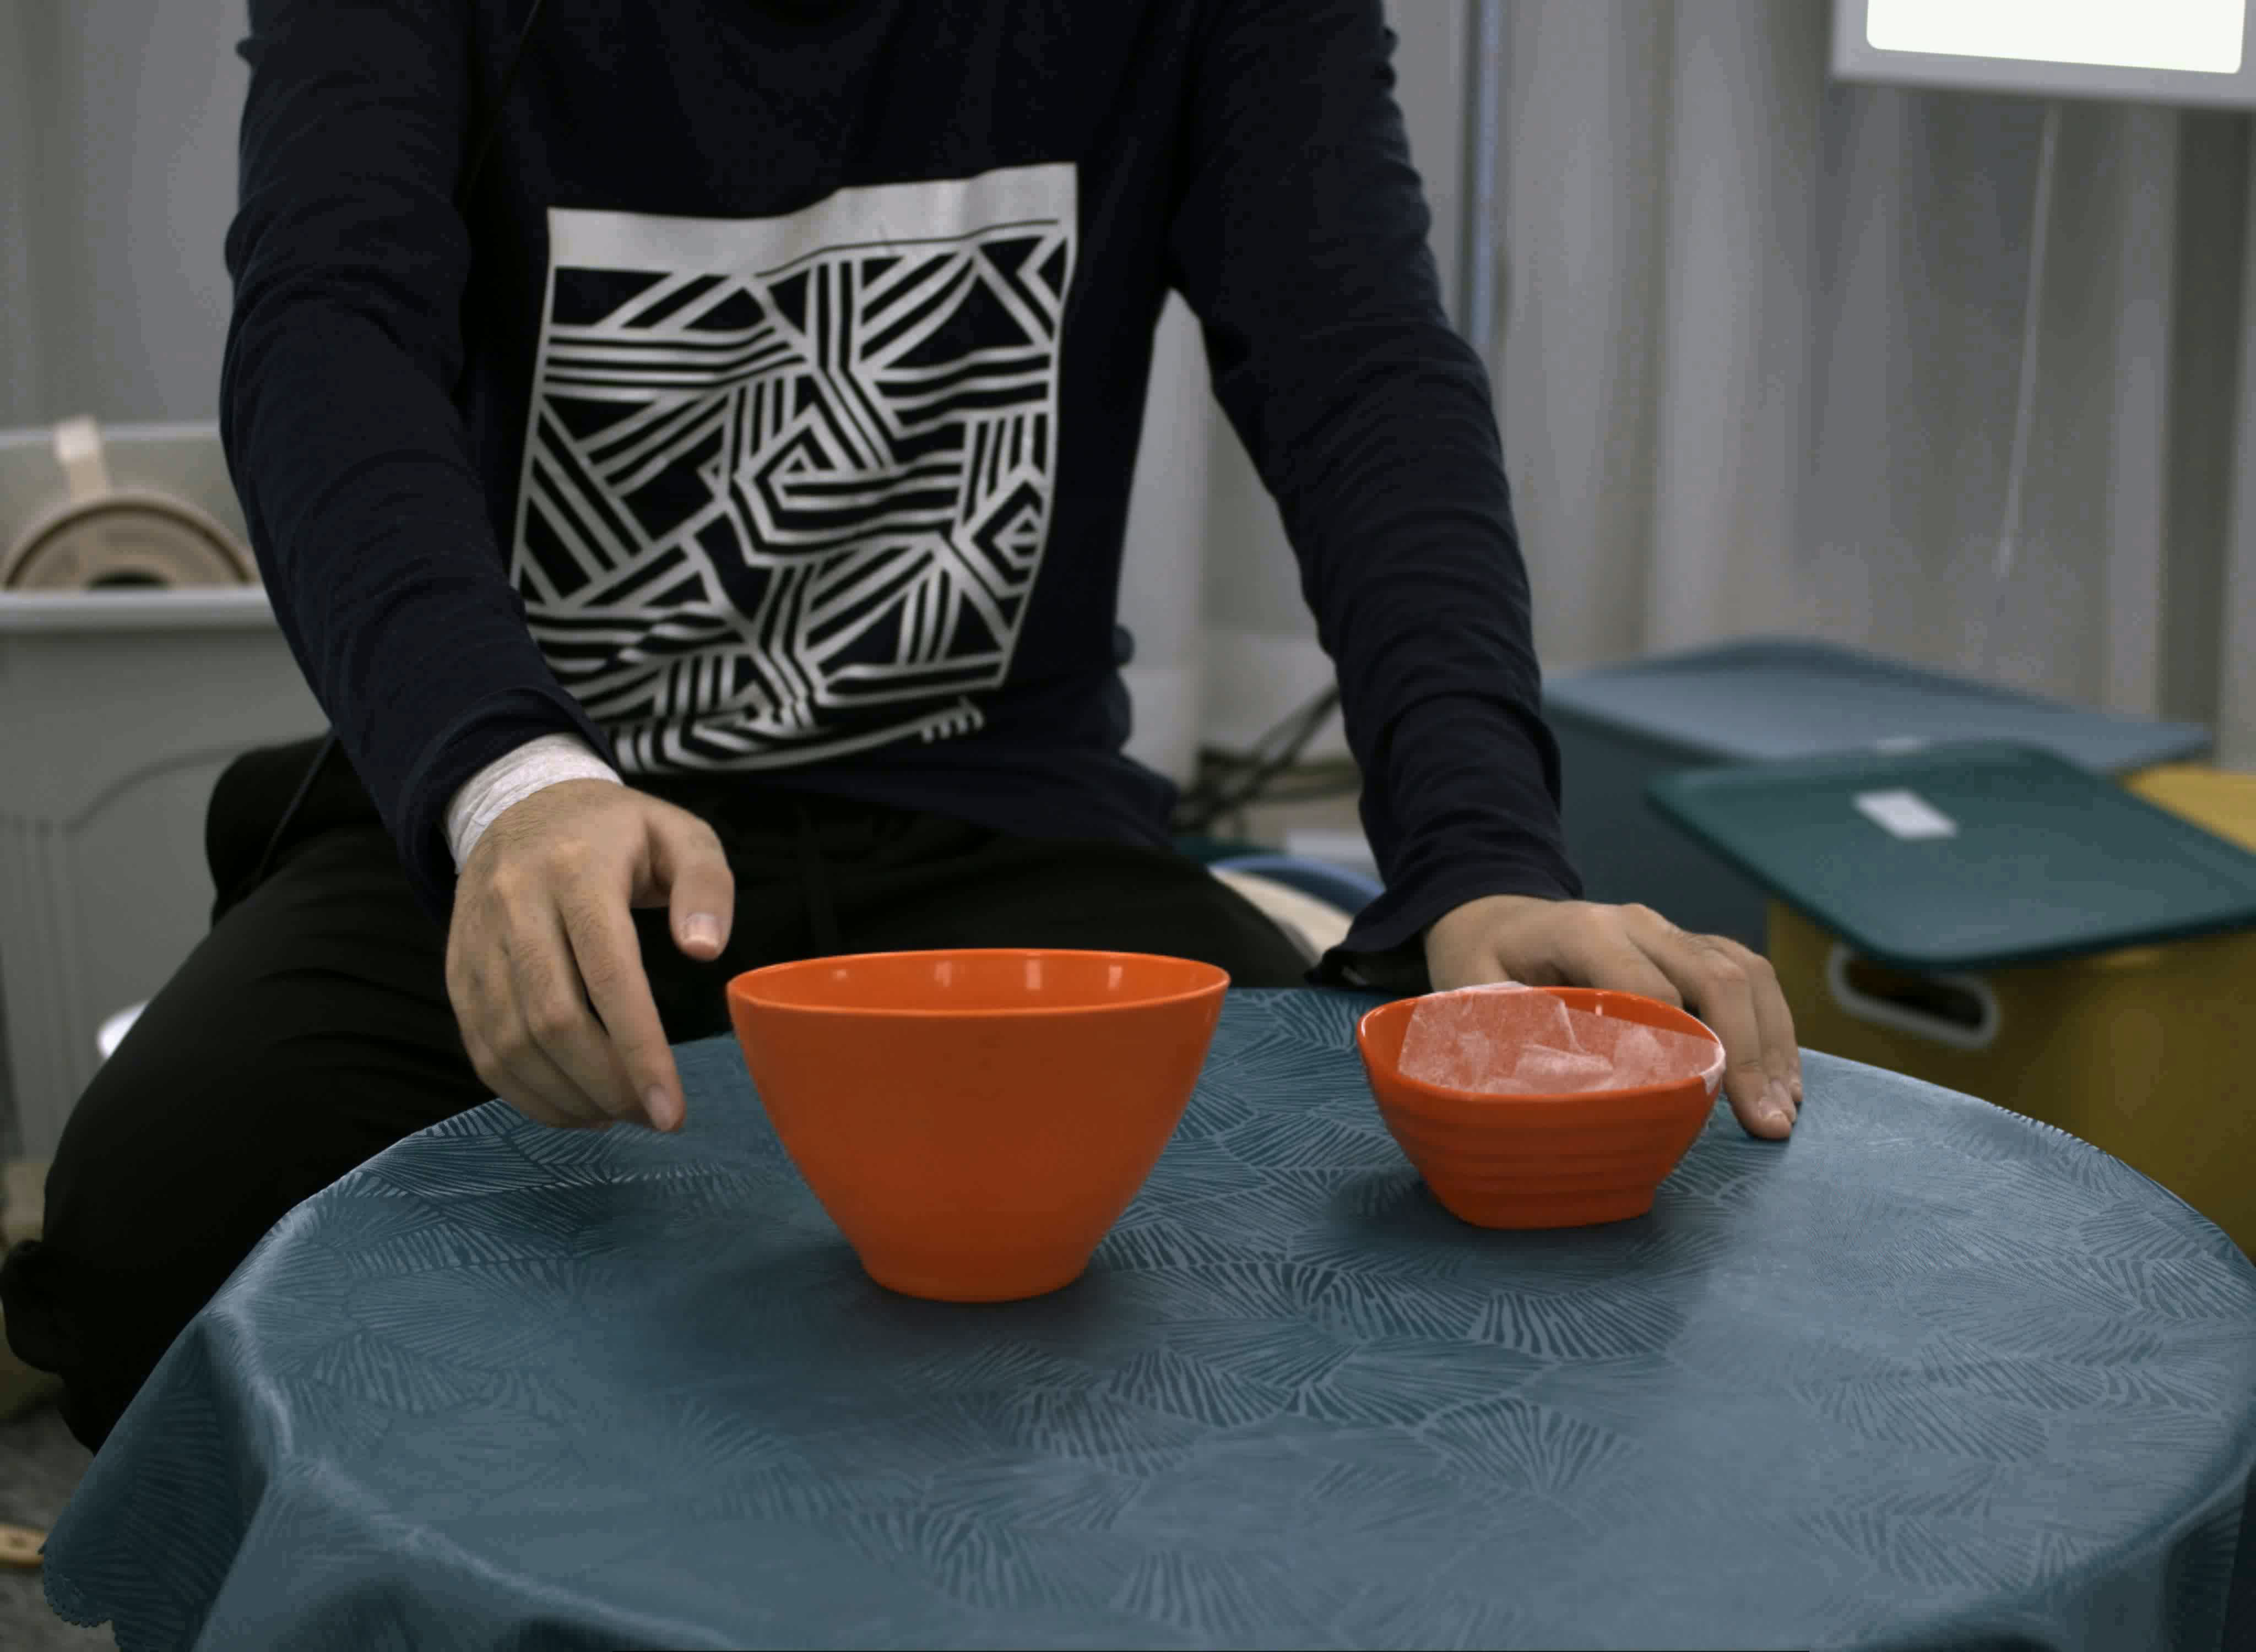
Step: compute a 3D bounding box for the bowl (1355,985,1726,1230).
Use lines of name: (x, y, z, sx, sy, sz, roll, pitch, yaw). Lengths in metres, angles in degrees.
bowl: (0.126, 0.088, 1.620, 0.118, 0.052, 0.118, -1, 16, 1)

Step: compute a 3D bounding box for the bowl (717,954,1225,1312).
bowl: (-0.045, 0.086, 1.535, 0.147, 0.105, 0.147, 0, 14, 1)
